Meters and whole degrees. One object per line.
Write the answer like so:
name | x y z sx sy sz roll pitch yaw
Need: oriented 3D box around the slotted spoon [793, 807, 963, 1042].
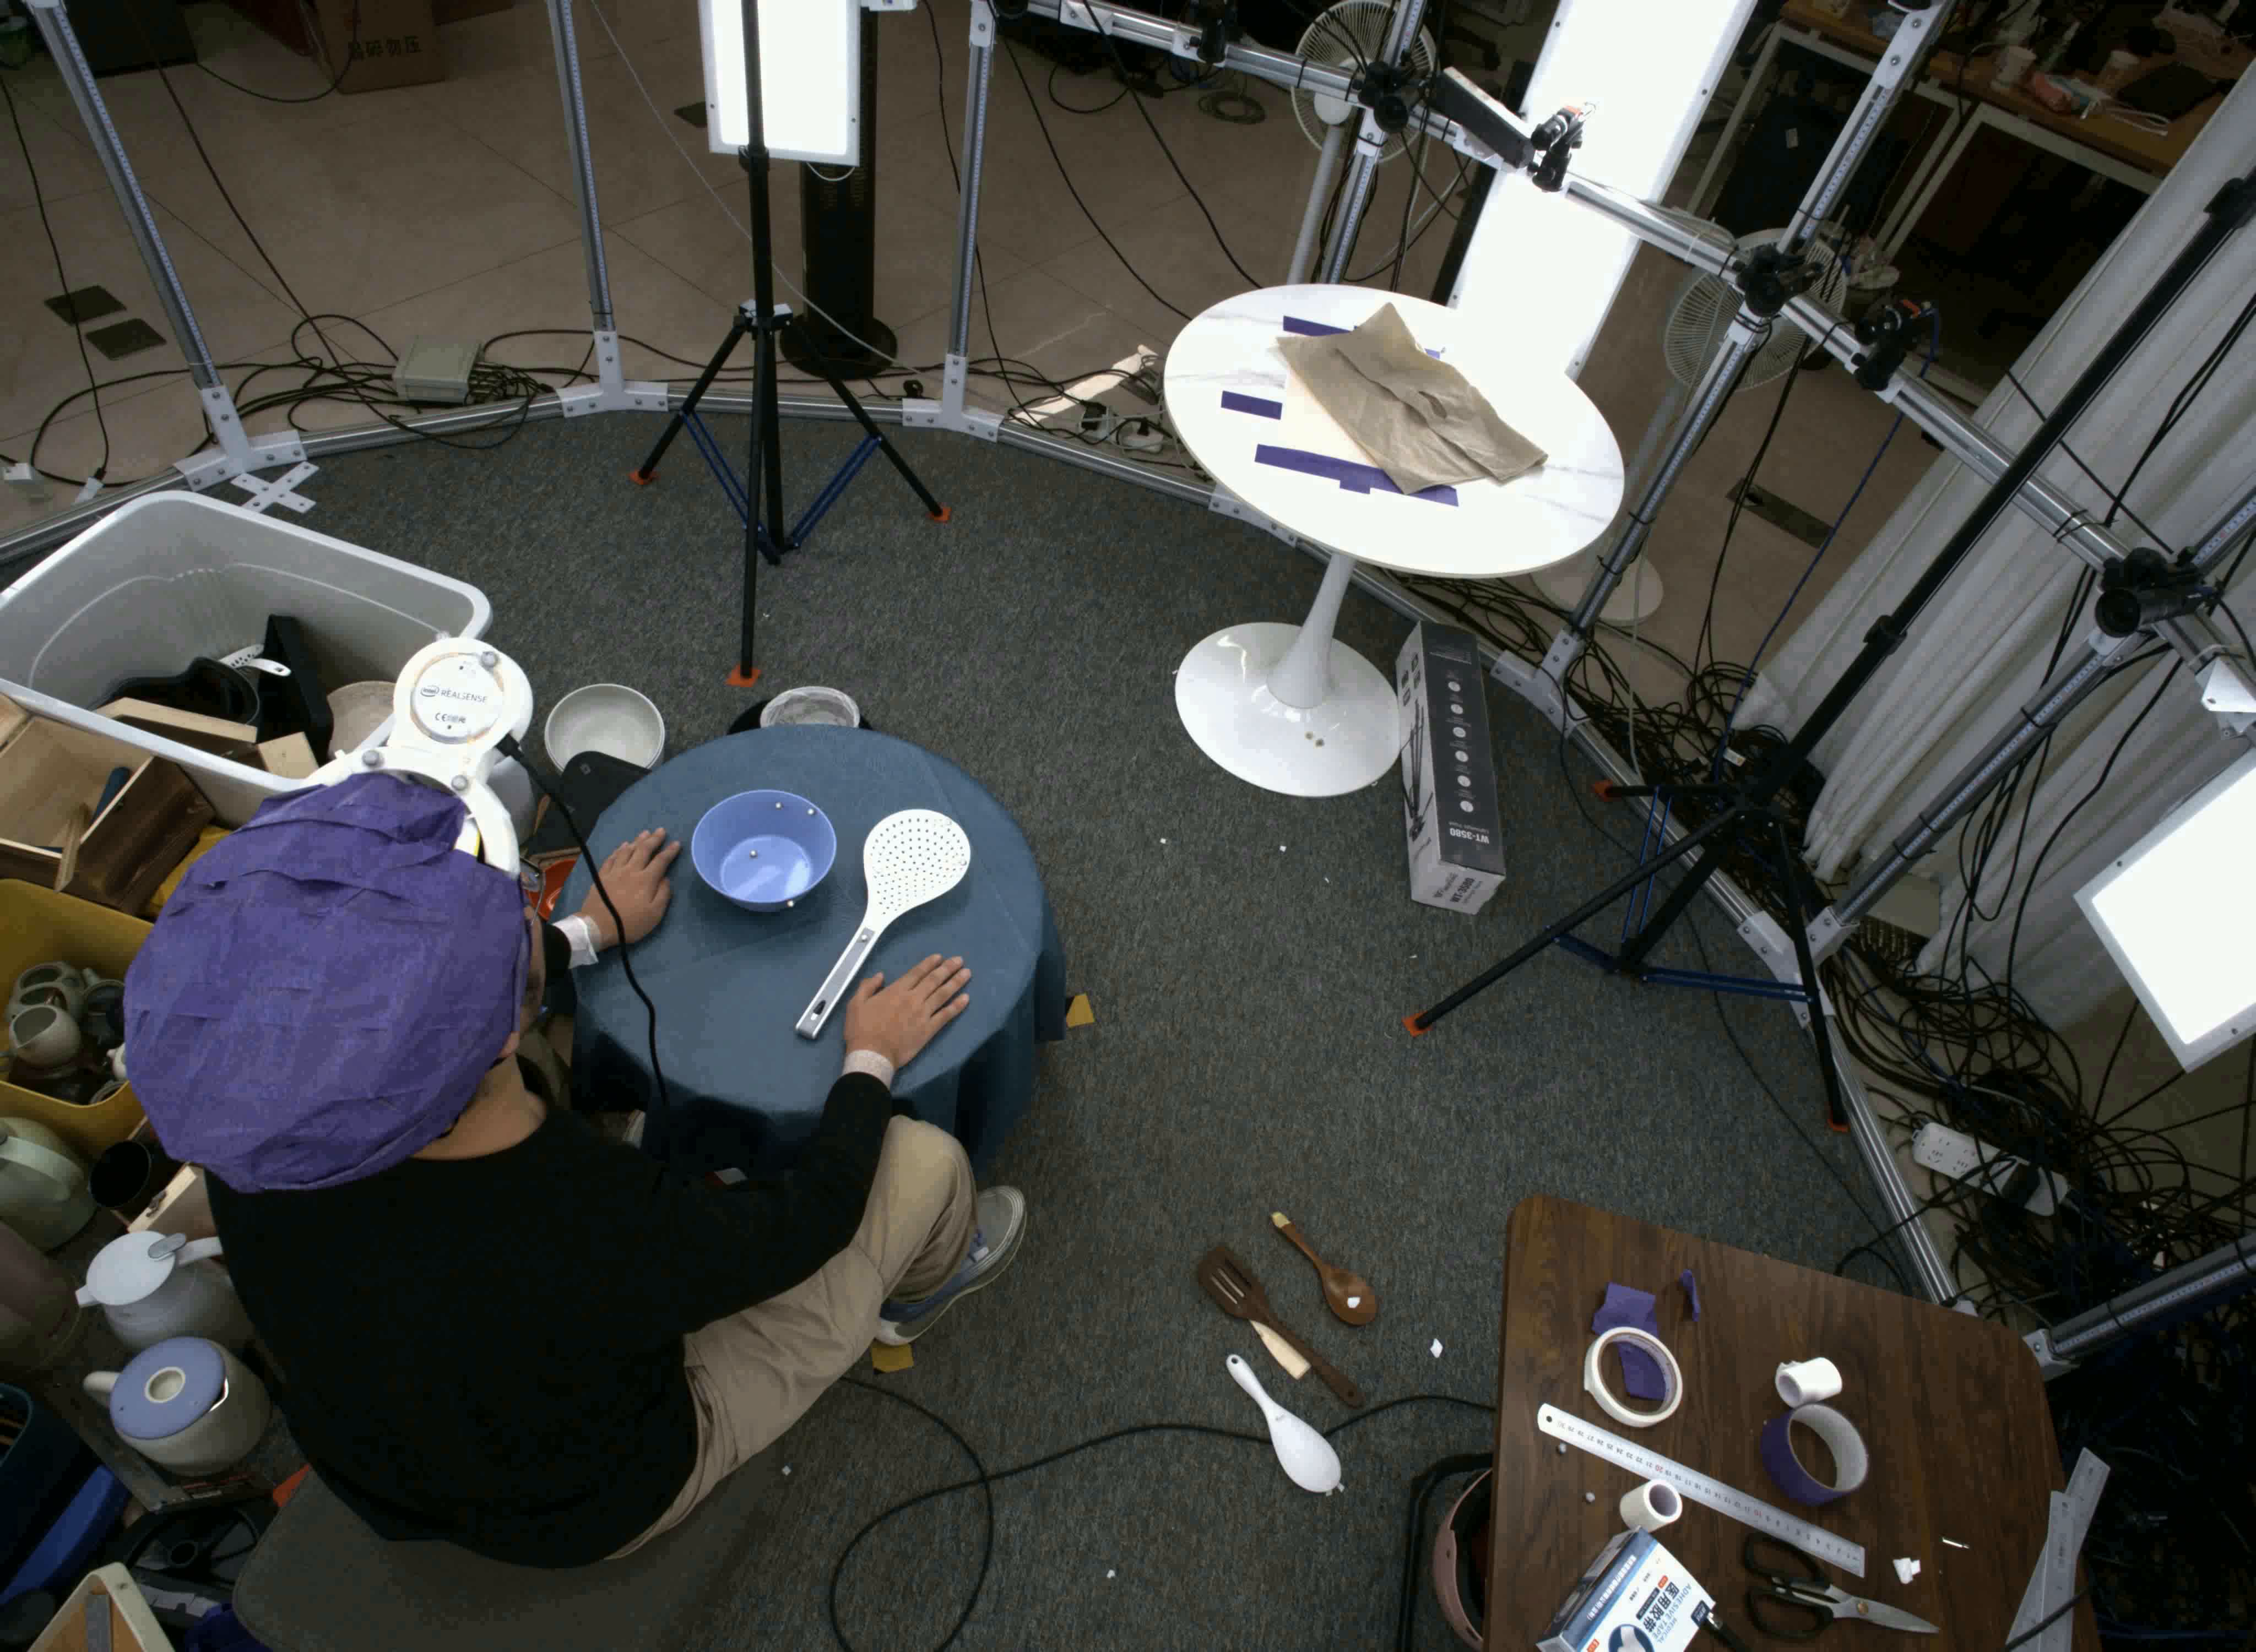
slotted spoon | -0.321 0.117 1.629 0.134 0.046 0.347 24 53 4

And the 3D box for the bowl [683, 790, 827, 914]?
bowl | -0.467 0.041 1.631 0.175 0.072 0.173 7 53 -8
